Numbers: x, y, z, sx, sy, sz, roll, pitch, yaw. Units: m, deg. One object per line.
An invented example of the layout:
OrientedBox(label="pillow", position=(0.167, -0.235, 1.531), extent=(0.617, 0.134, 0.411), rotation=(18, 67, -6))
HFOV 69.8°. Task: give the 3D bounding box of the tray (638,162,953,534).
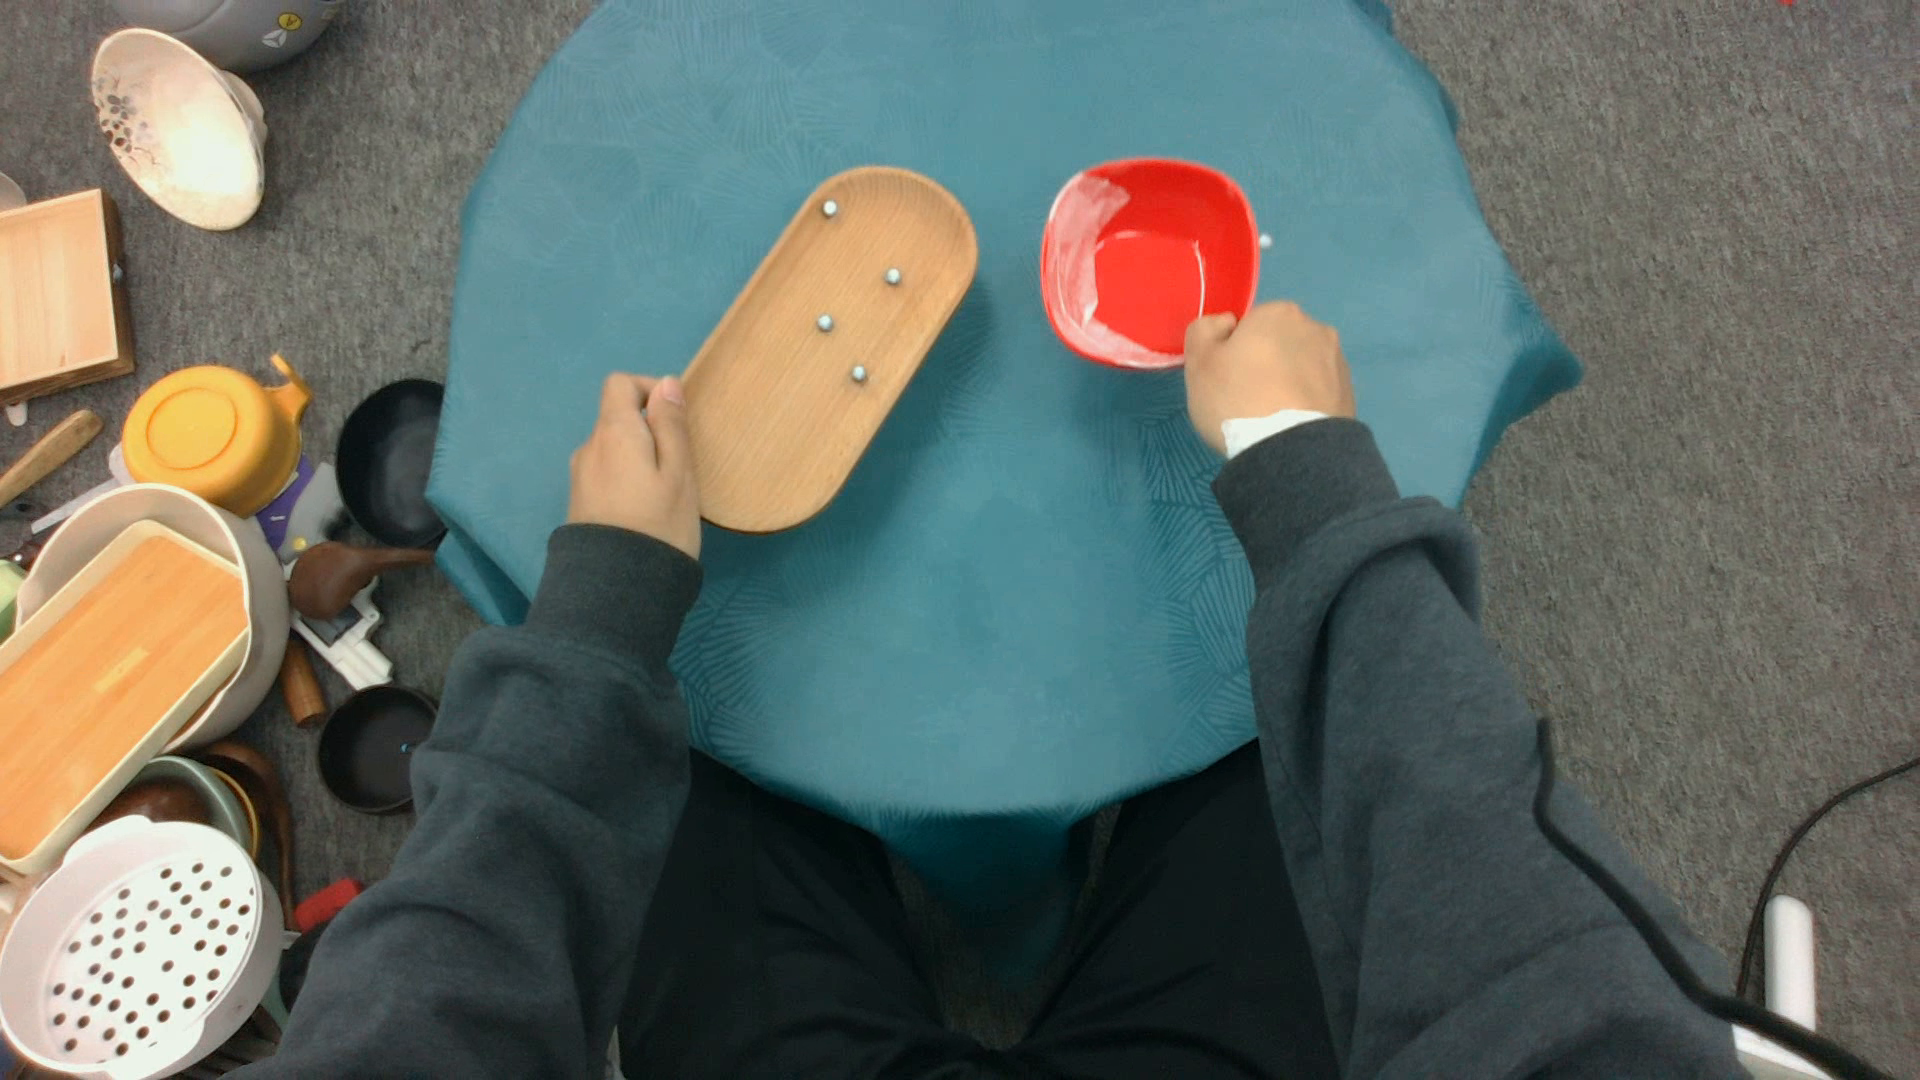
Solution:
OrientedBox(label="tray", position=(-0.084, -0.105, 0.727), extent=(0.101, 0.020, 0.232), rotation=(27, 71, 3))

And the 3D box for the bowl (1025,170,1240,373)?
OrientedBox(label="bowl", position=(0.090, -0.135, 0.730), extent=(0.119, 0.051, 0.119), rotation=(-1, 76, 3))
